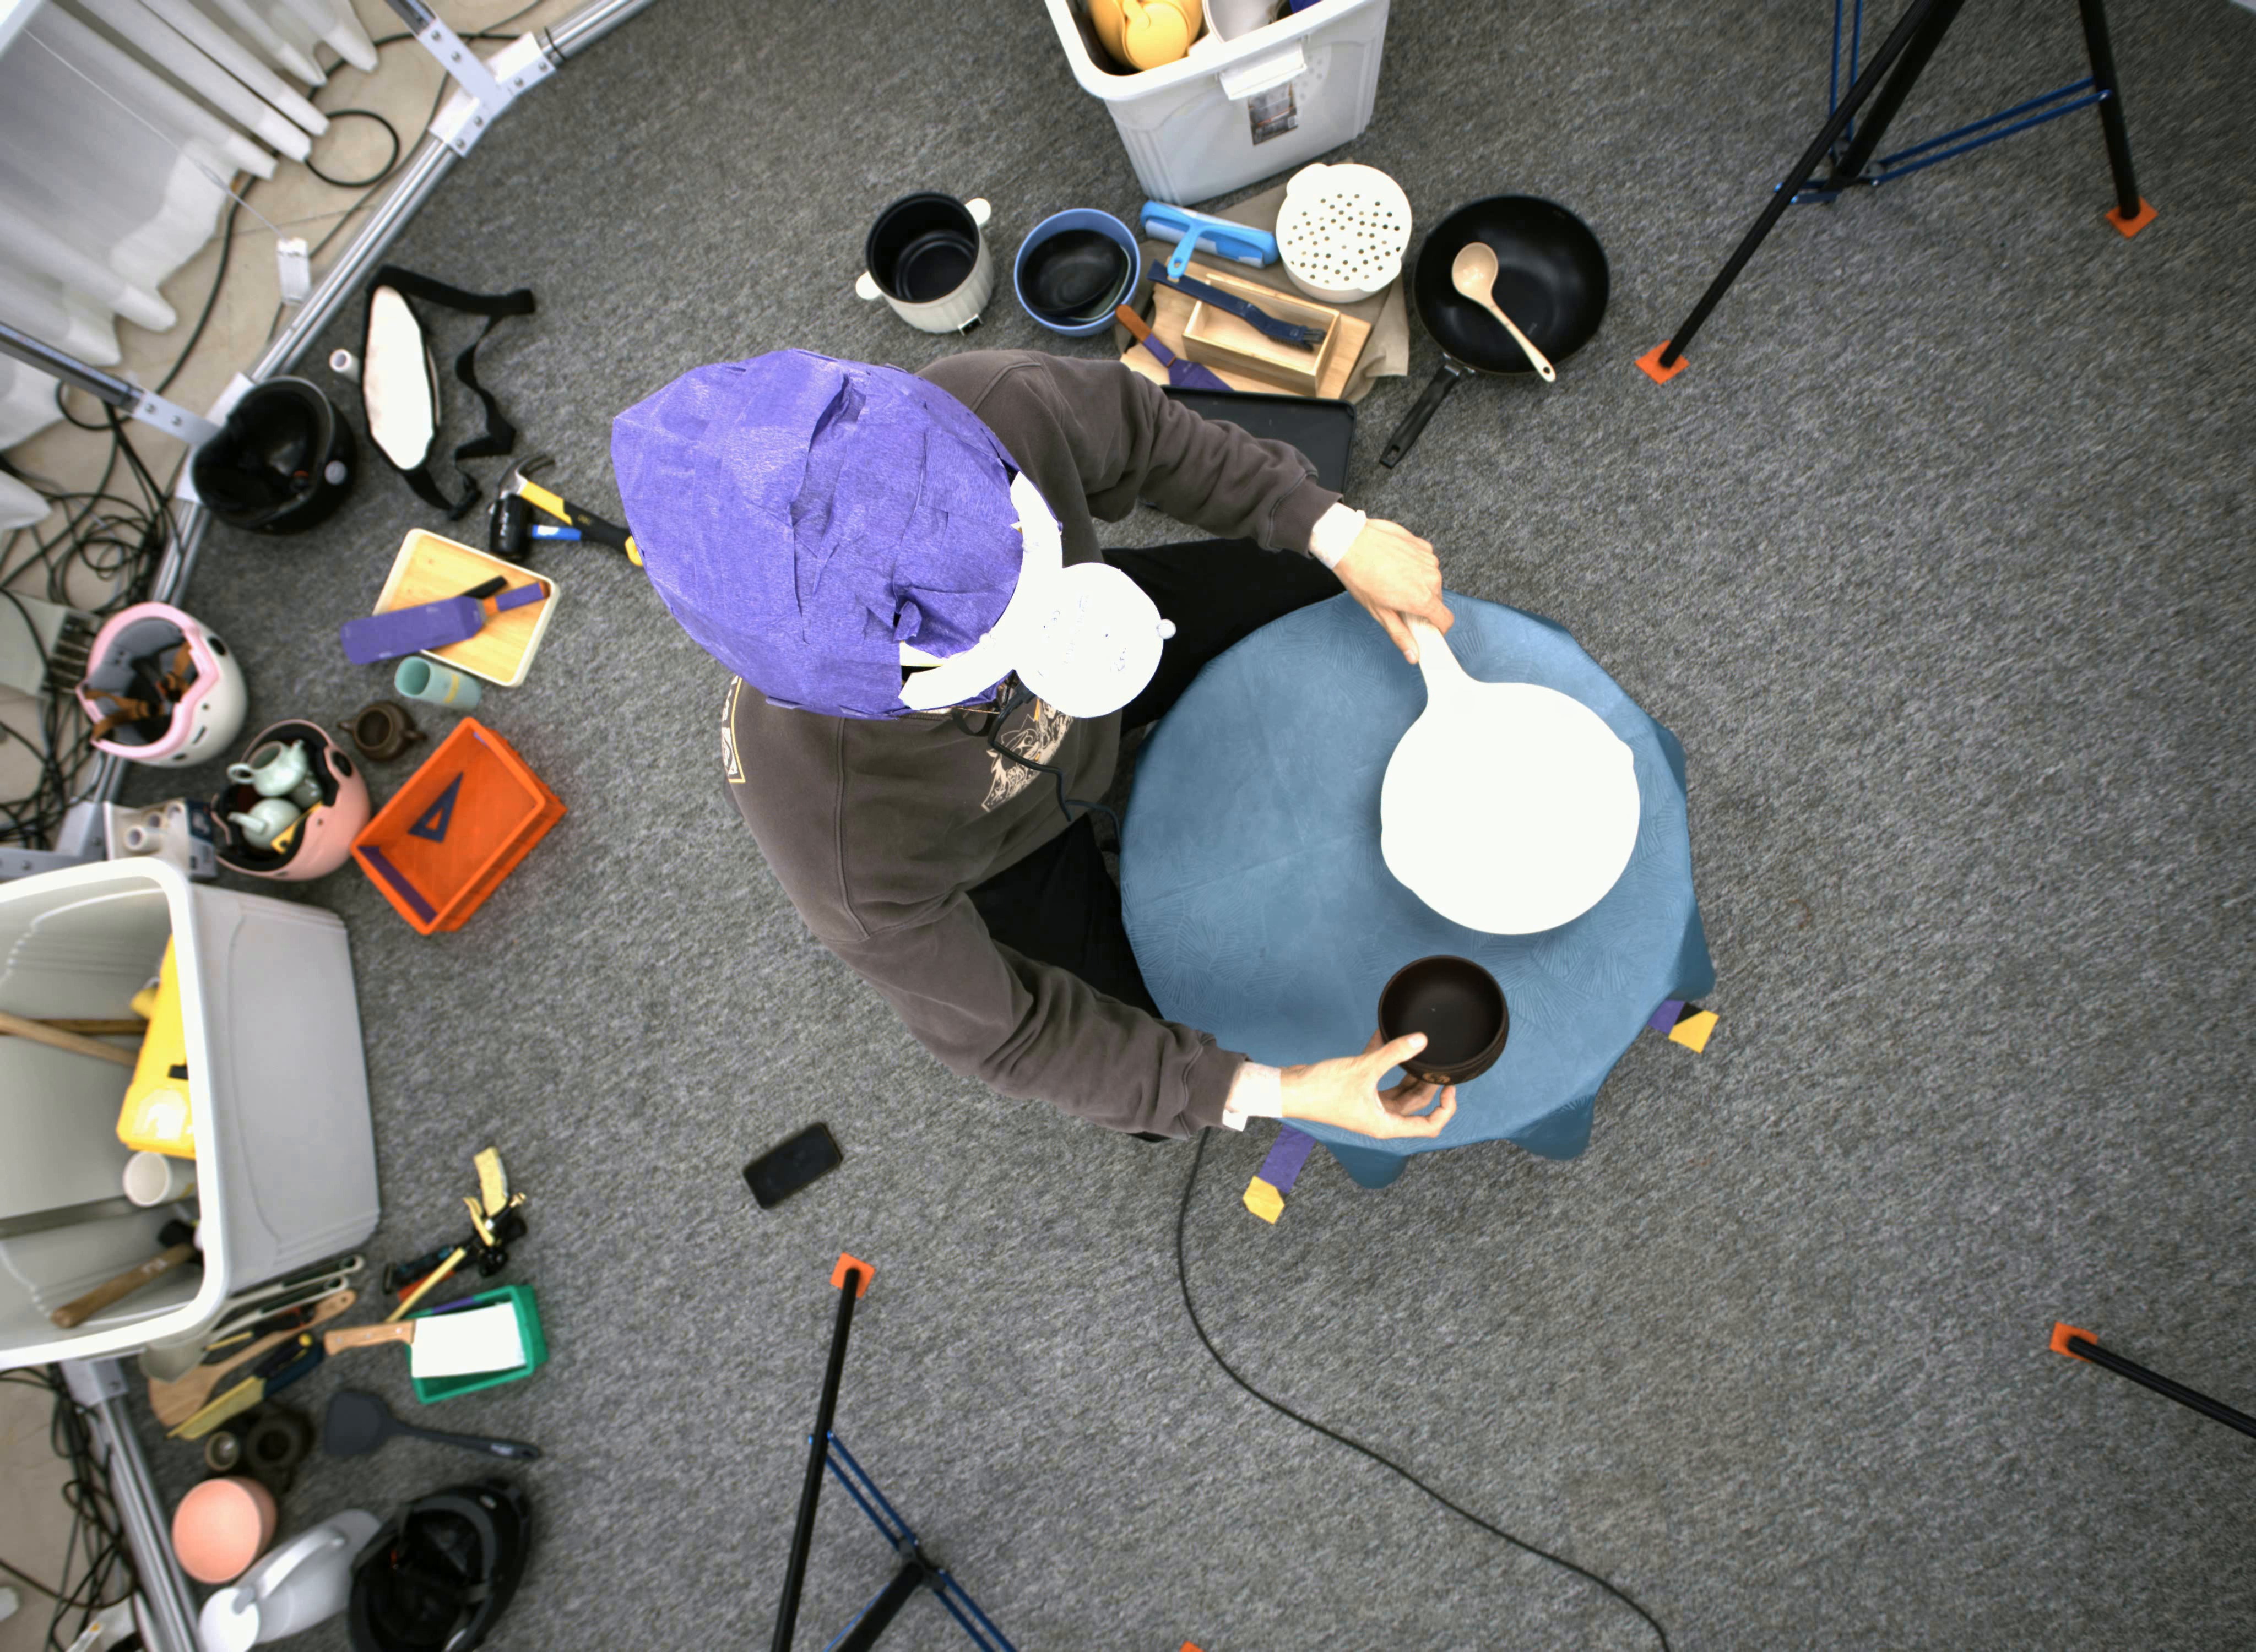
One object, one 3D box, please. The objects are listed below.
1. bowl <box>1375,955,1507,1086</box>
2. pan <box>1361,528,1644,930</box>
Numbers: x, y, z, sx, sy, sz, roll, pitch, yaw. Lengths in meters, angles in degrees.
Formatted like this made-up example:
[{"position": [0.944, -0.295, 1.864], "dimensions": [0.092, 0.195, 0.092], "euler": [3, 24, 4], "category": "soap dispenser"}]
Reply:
[{"position": [0.291, 0.184, 1.275], "dimensions": [0.119, 0.071, 0.115], "euler": [-10, 58, 16], "category": "bowl"}, {"position": [0.348, -0.104, 1.401], "dimensions": [0.265, 0.102, 0.432], "euler": [-26, 83, 10], "category": "pan"}]
